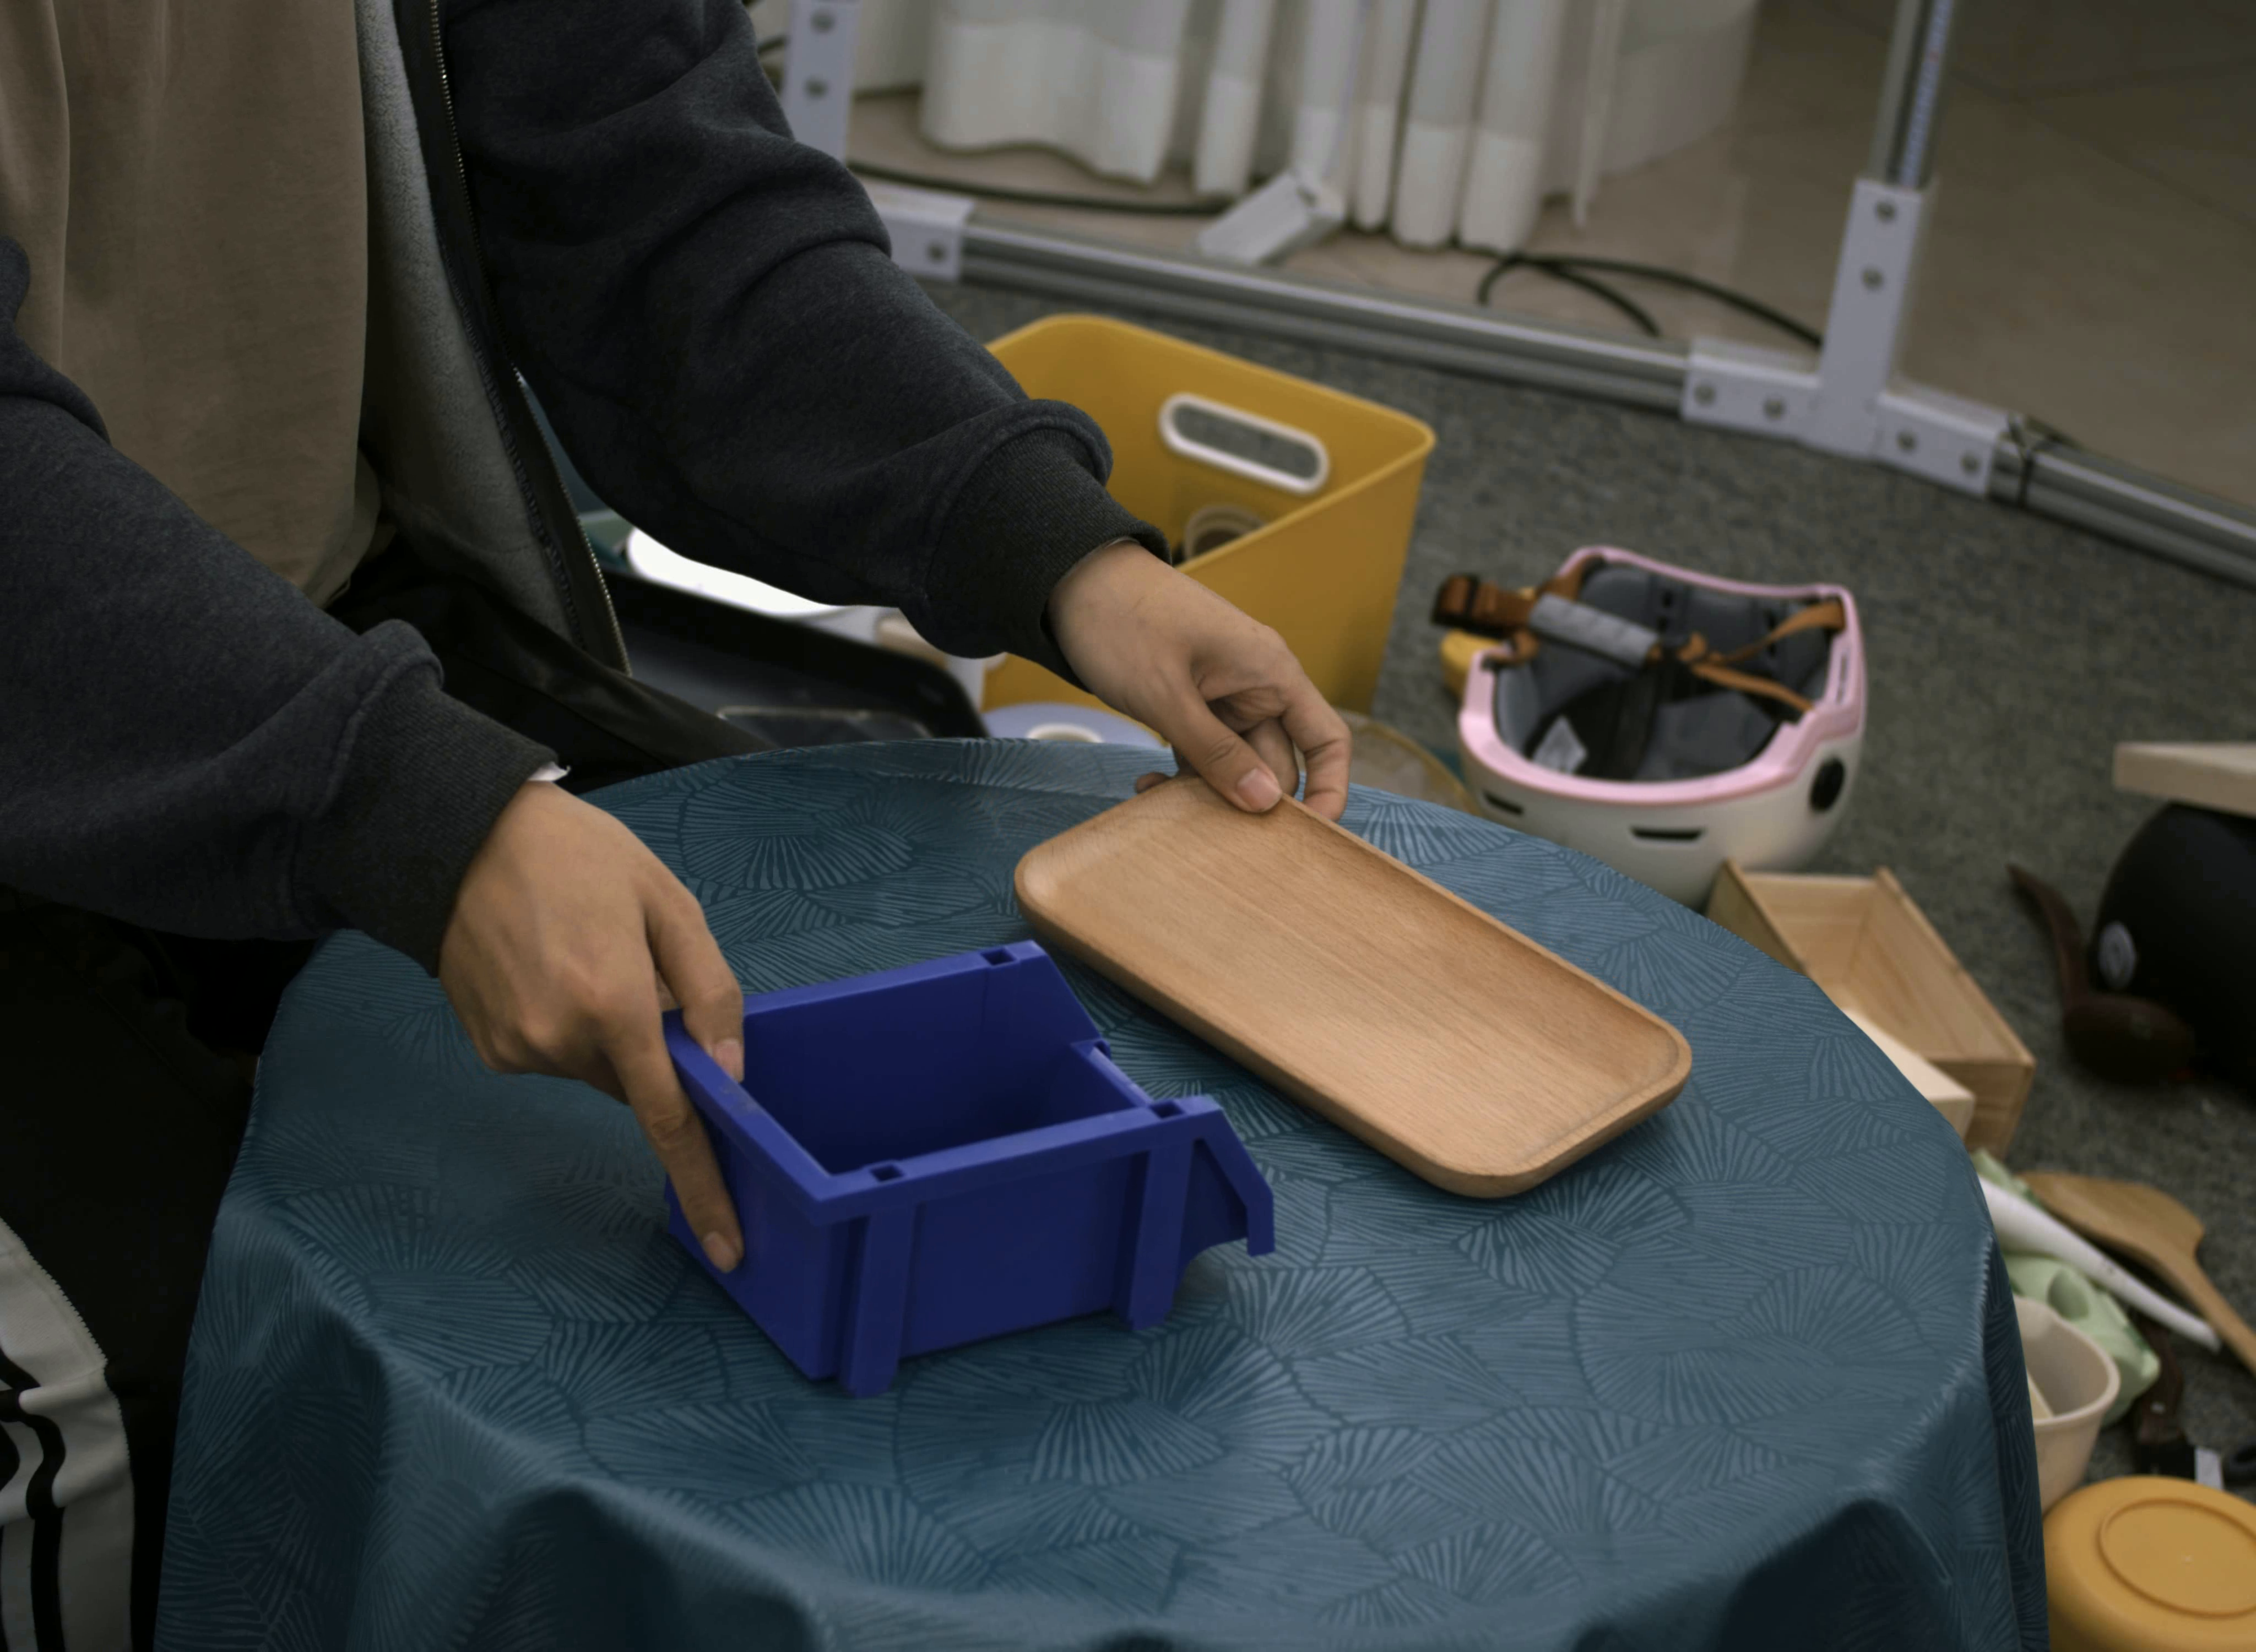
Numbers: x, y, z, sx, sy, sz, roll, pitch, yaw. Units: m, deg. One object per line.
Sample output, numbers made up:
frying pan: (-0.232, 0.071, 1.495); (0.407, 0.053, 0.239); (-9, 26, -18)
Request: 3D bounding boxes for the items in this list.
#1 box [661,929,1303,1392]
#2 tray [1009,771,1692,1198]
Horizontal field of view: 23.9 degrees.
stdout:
box: (-0.048, 0.105, 1.737); (0.178, 0.081, 0.125); (-13, 32, -27)
tray: (0.077, 0.055, 1.911); (0.130, 0.023, 0.252); (-25, 42, -38)
